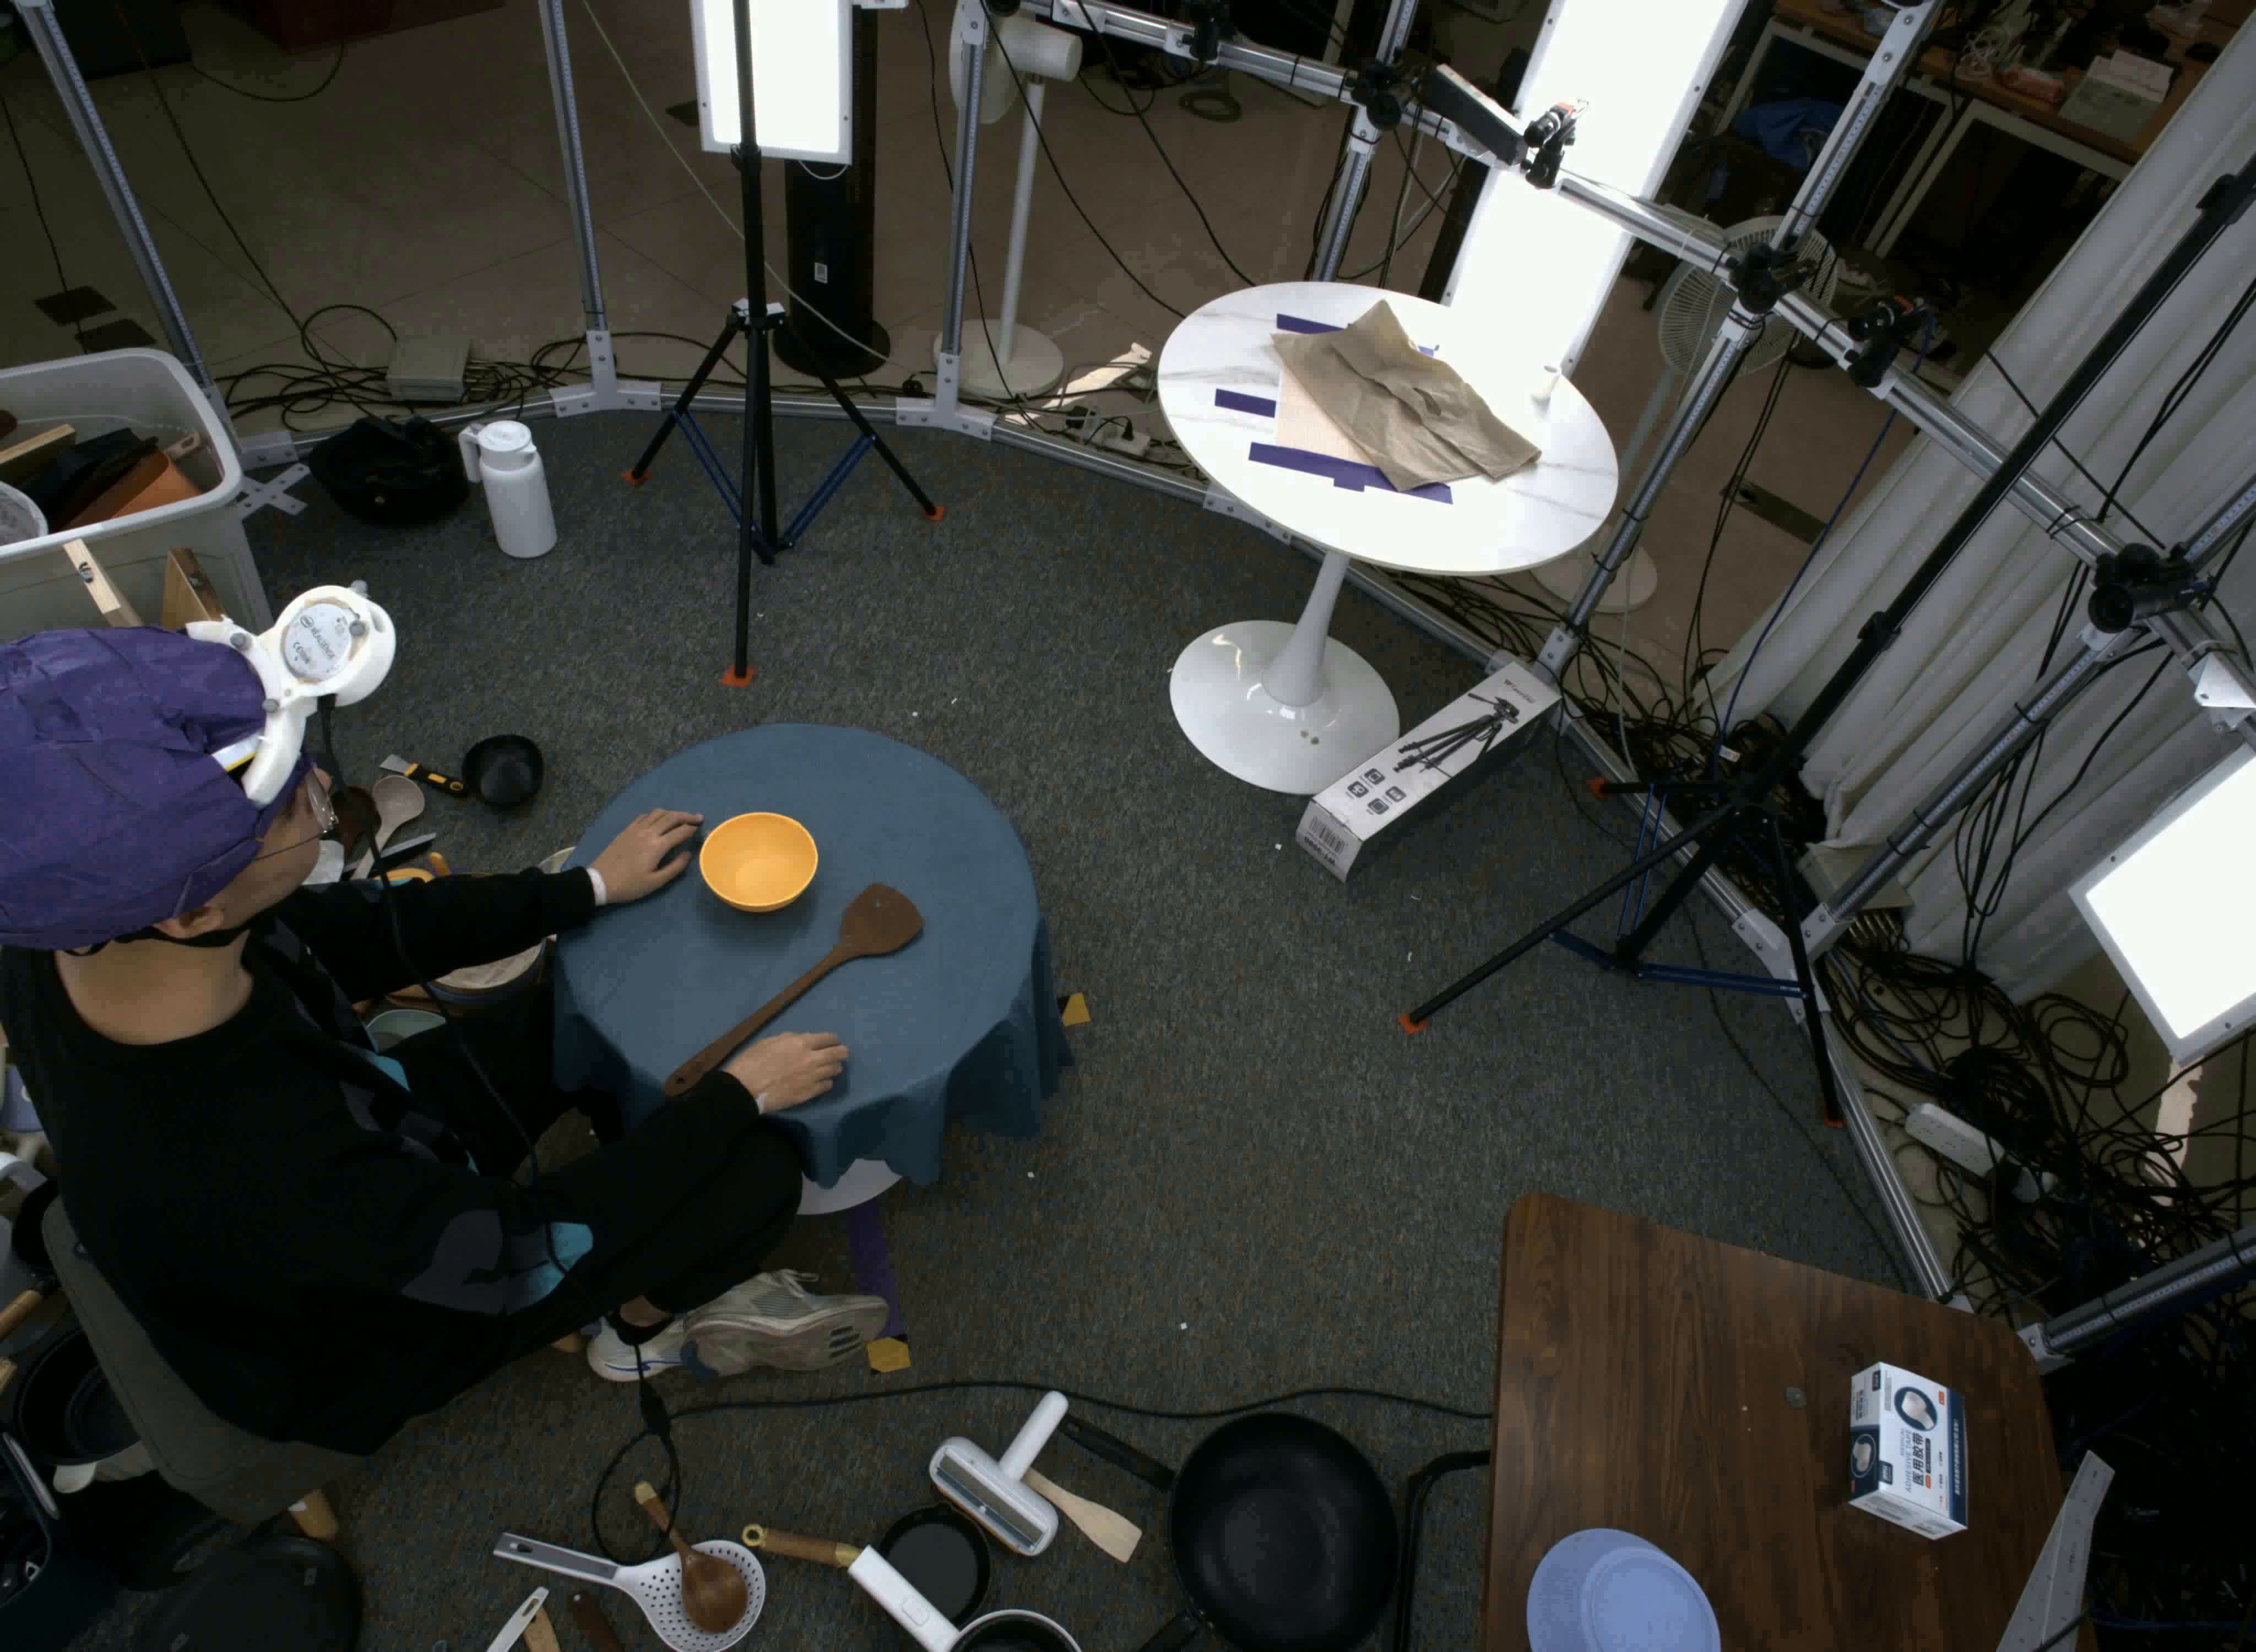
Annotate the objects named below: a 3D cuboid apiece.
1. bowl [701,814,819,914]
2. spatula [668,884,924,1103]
[{"bbox_3d":[-0.463,0.058,1.640,0.144,0.061,0.143,6,52,-6],"label":"bowl"},{"bbox_3d":[-0.405,0.201,1.576,0.094,0.016,0.386,38,54,15],"label":"spatula"}]
